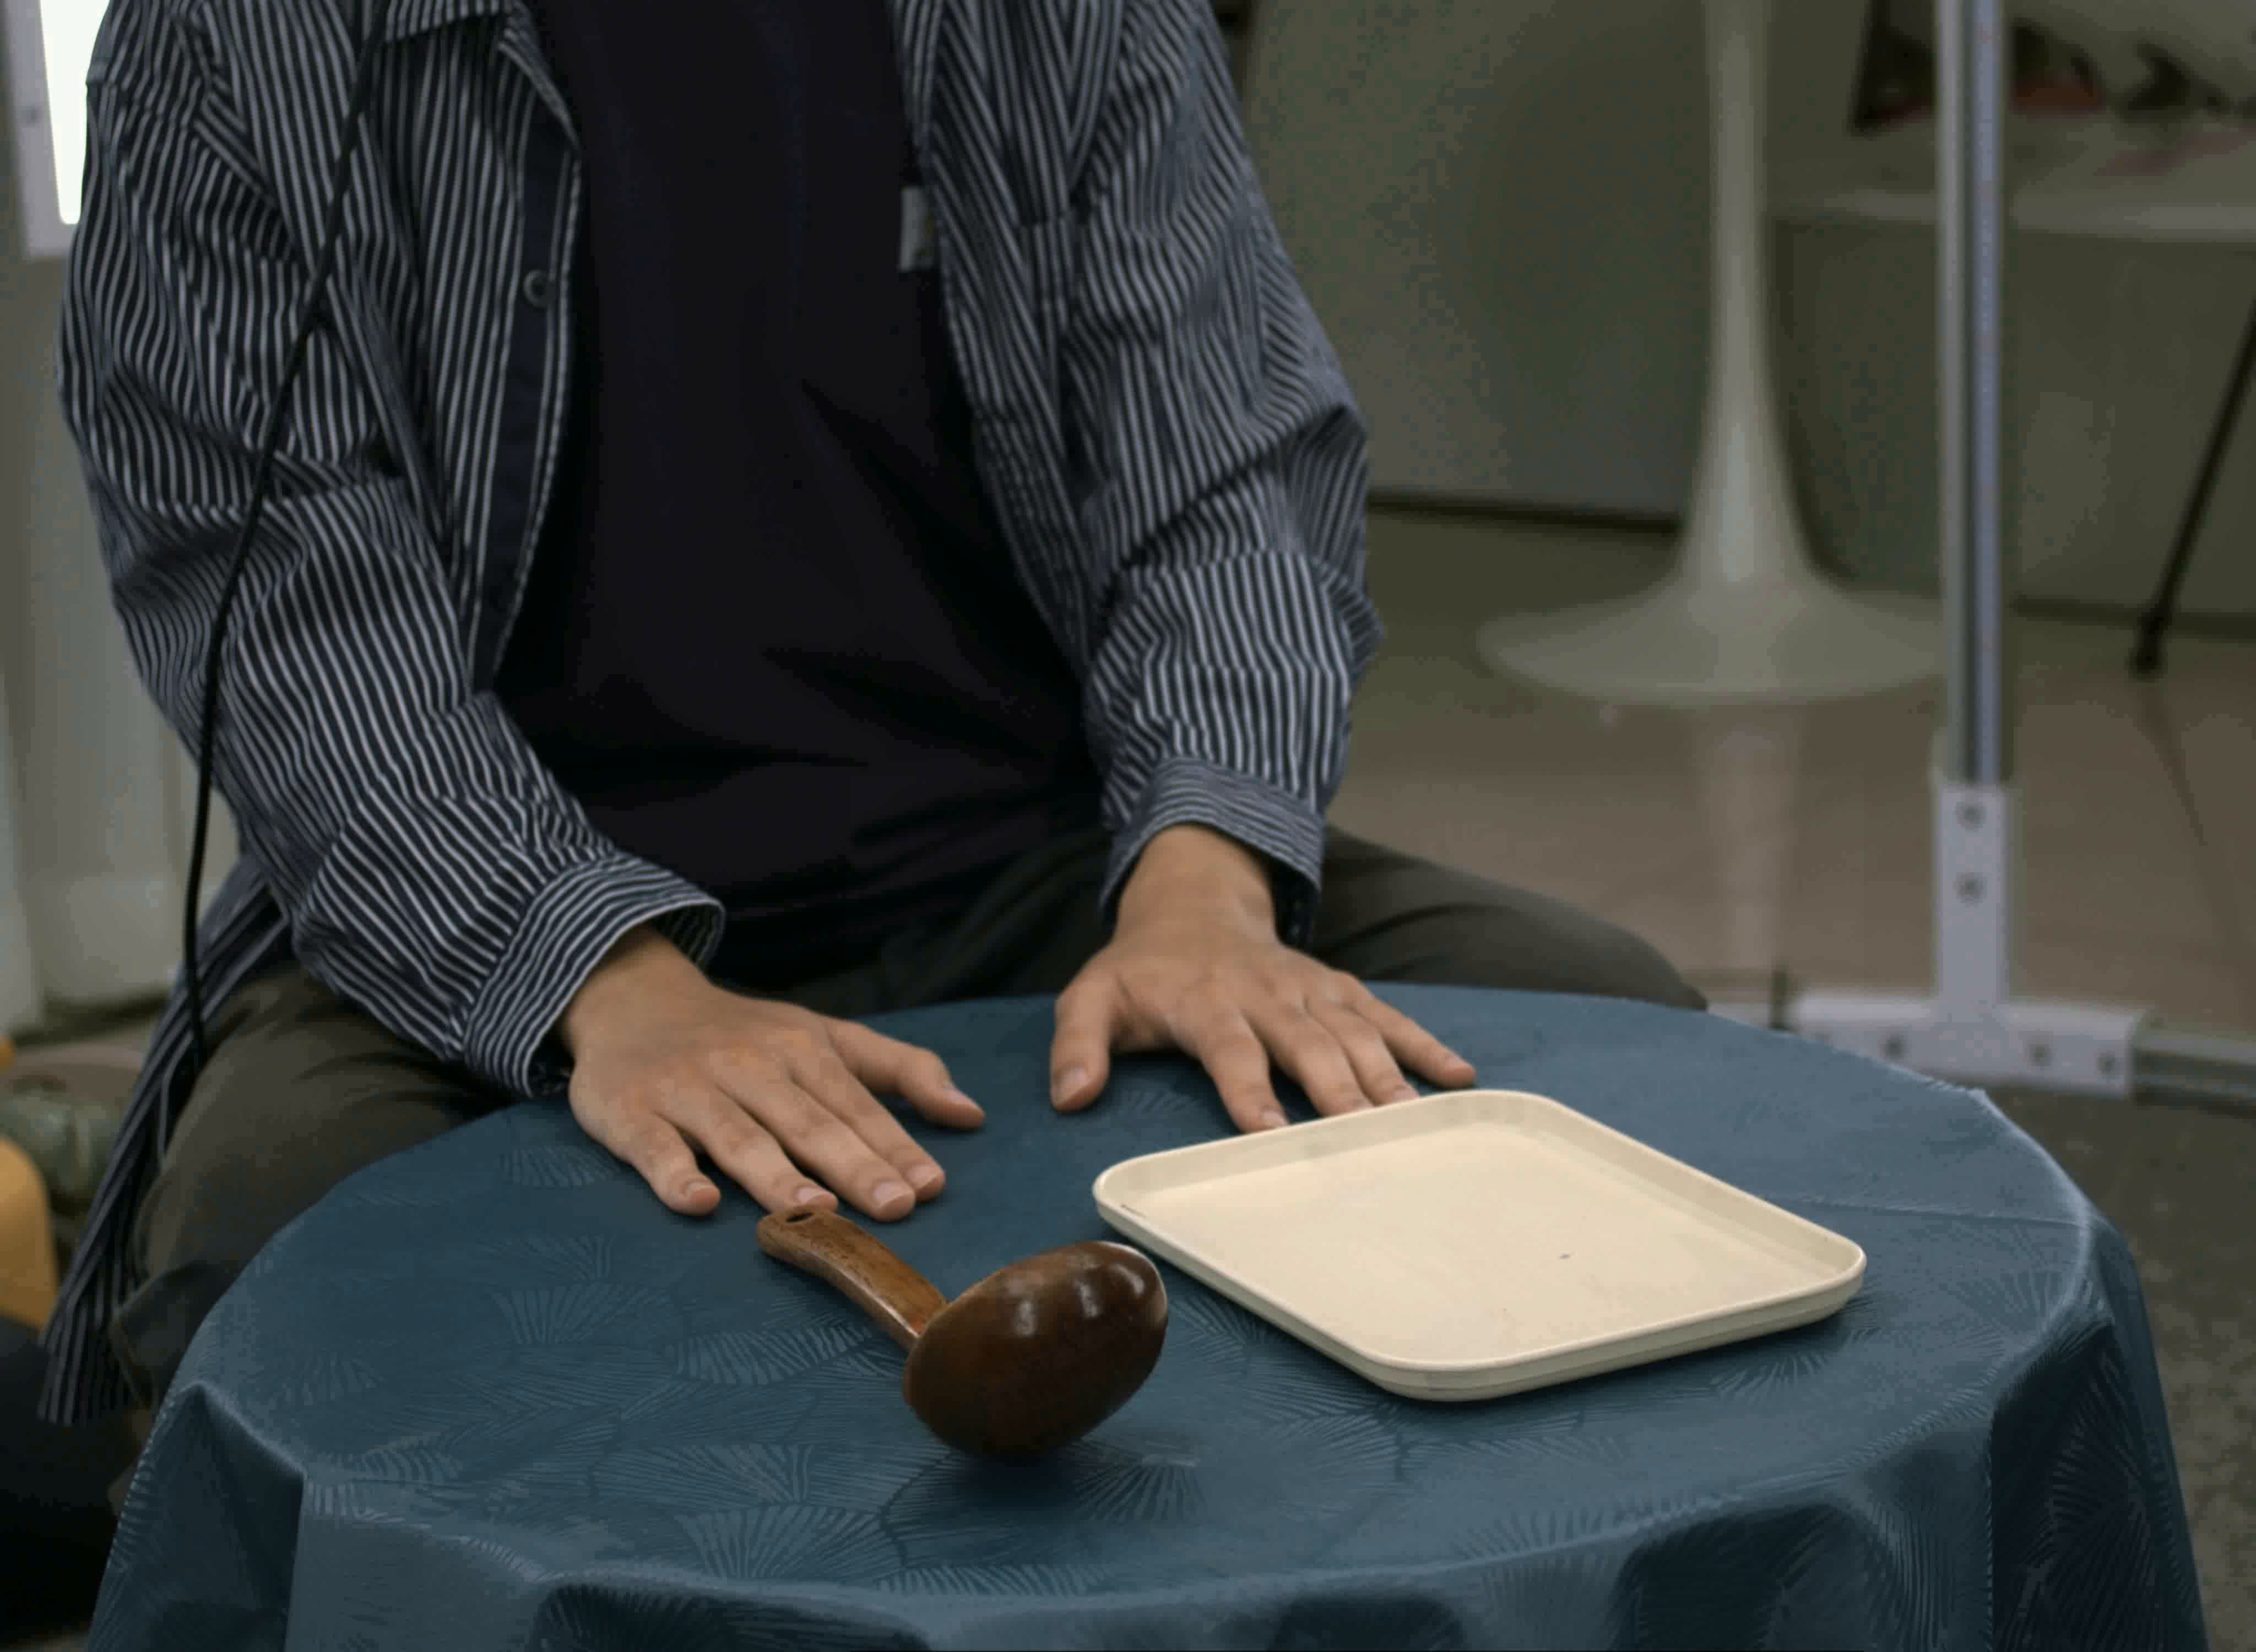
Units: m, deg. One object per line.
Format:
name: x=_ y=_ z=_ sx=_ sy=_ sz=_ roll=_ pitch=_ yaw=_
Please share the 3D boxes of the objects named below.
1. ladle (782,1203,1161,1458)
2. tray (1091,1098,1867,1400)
ladle: x=-0.064 y=0.126 z=1.606 sx=0.080 sy=0.077 sz=0.276 roll=-13 pitch=16 yaw=-17
tray: x=0.105 y=0.129 z=1.667 sx=0.167 sy=0.017 sz=0.242 roll=-10 pitch=14 yaw=-24
